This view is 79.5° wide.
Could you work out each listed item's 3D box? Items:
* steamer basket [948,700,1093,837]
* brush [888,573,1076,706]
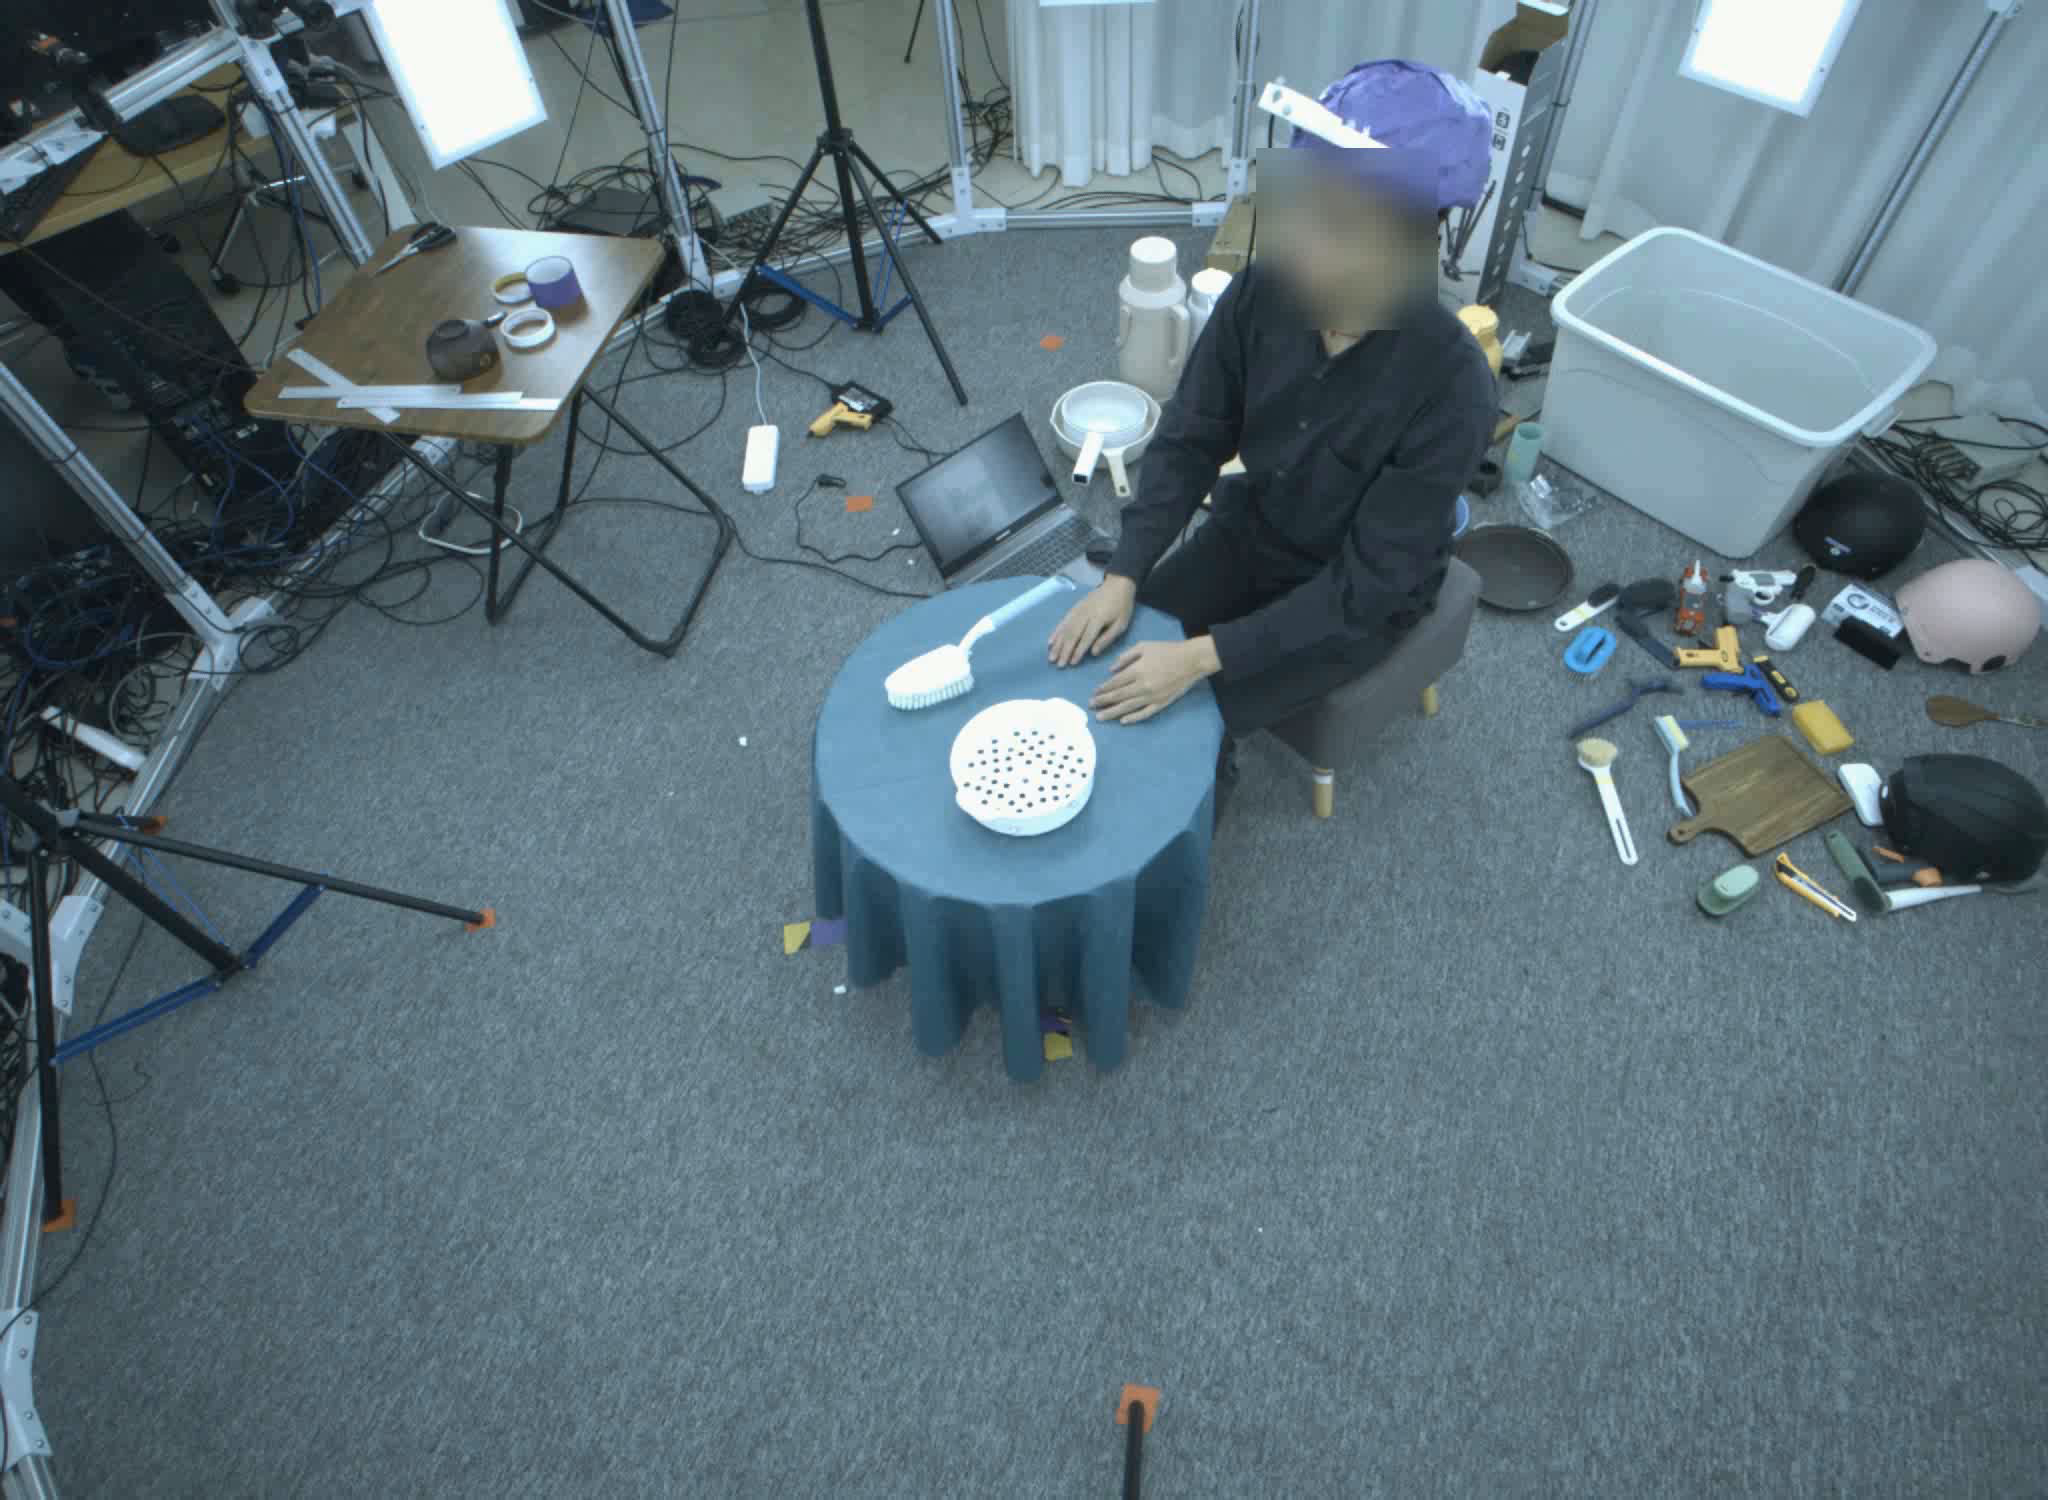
[{"bbox_3d":[-0.004,0.028,1.726,0.198,0.070,0.232,33,62,22],"label":"steamer basket"},{"bbox_3d":[-0.055,-0.156,1.849,0.326,0.084,0.083,-31,95,-5],"label":"brush"}]
